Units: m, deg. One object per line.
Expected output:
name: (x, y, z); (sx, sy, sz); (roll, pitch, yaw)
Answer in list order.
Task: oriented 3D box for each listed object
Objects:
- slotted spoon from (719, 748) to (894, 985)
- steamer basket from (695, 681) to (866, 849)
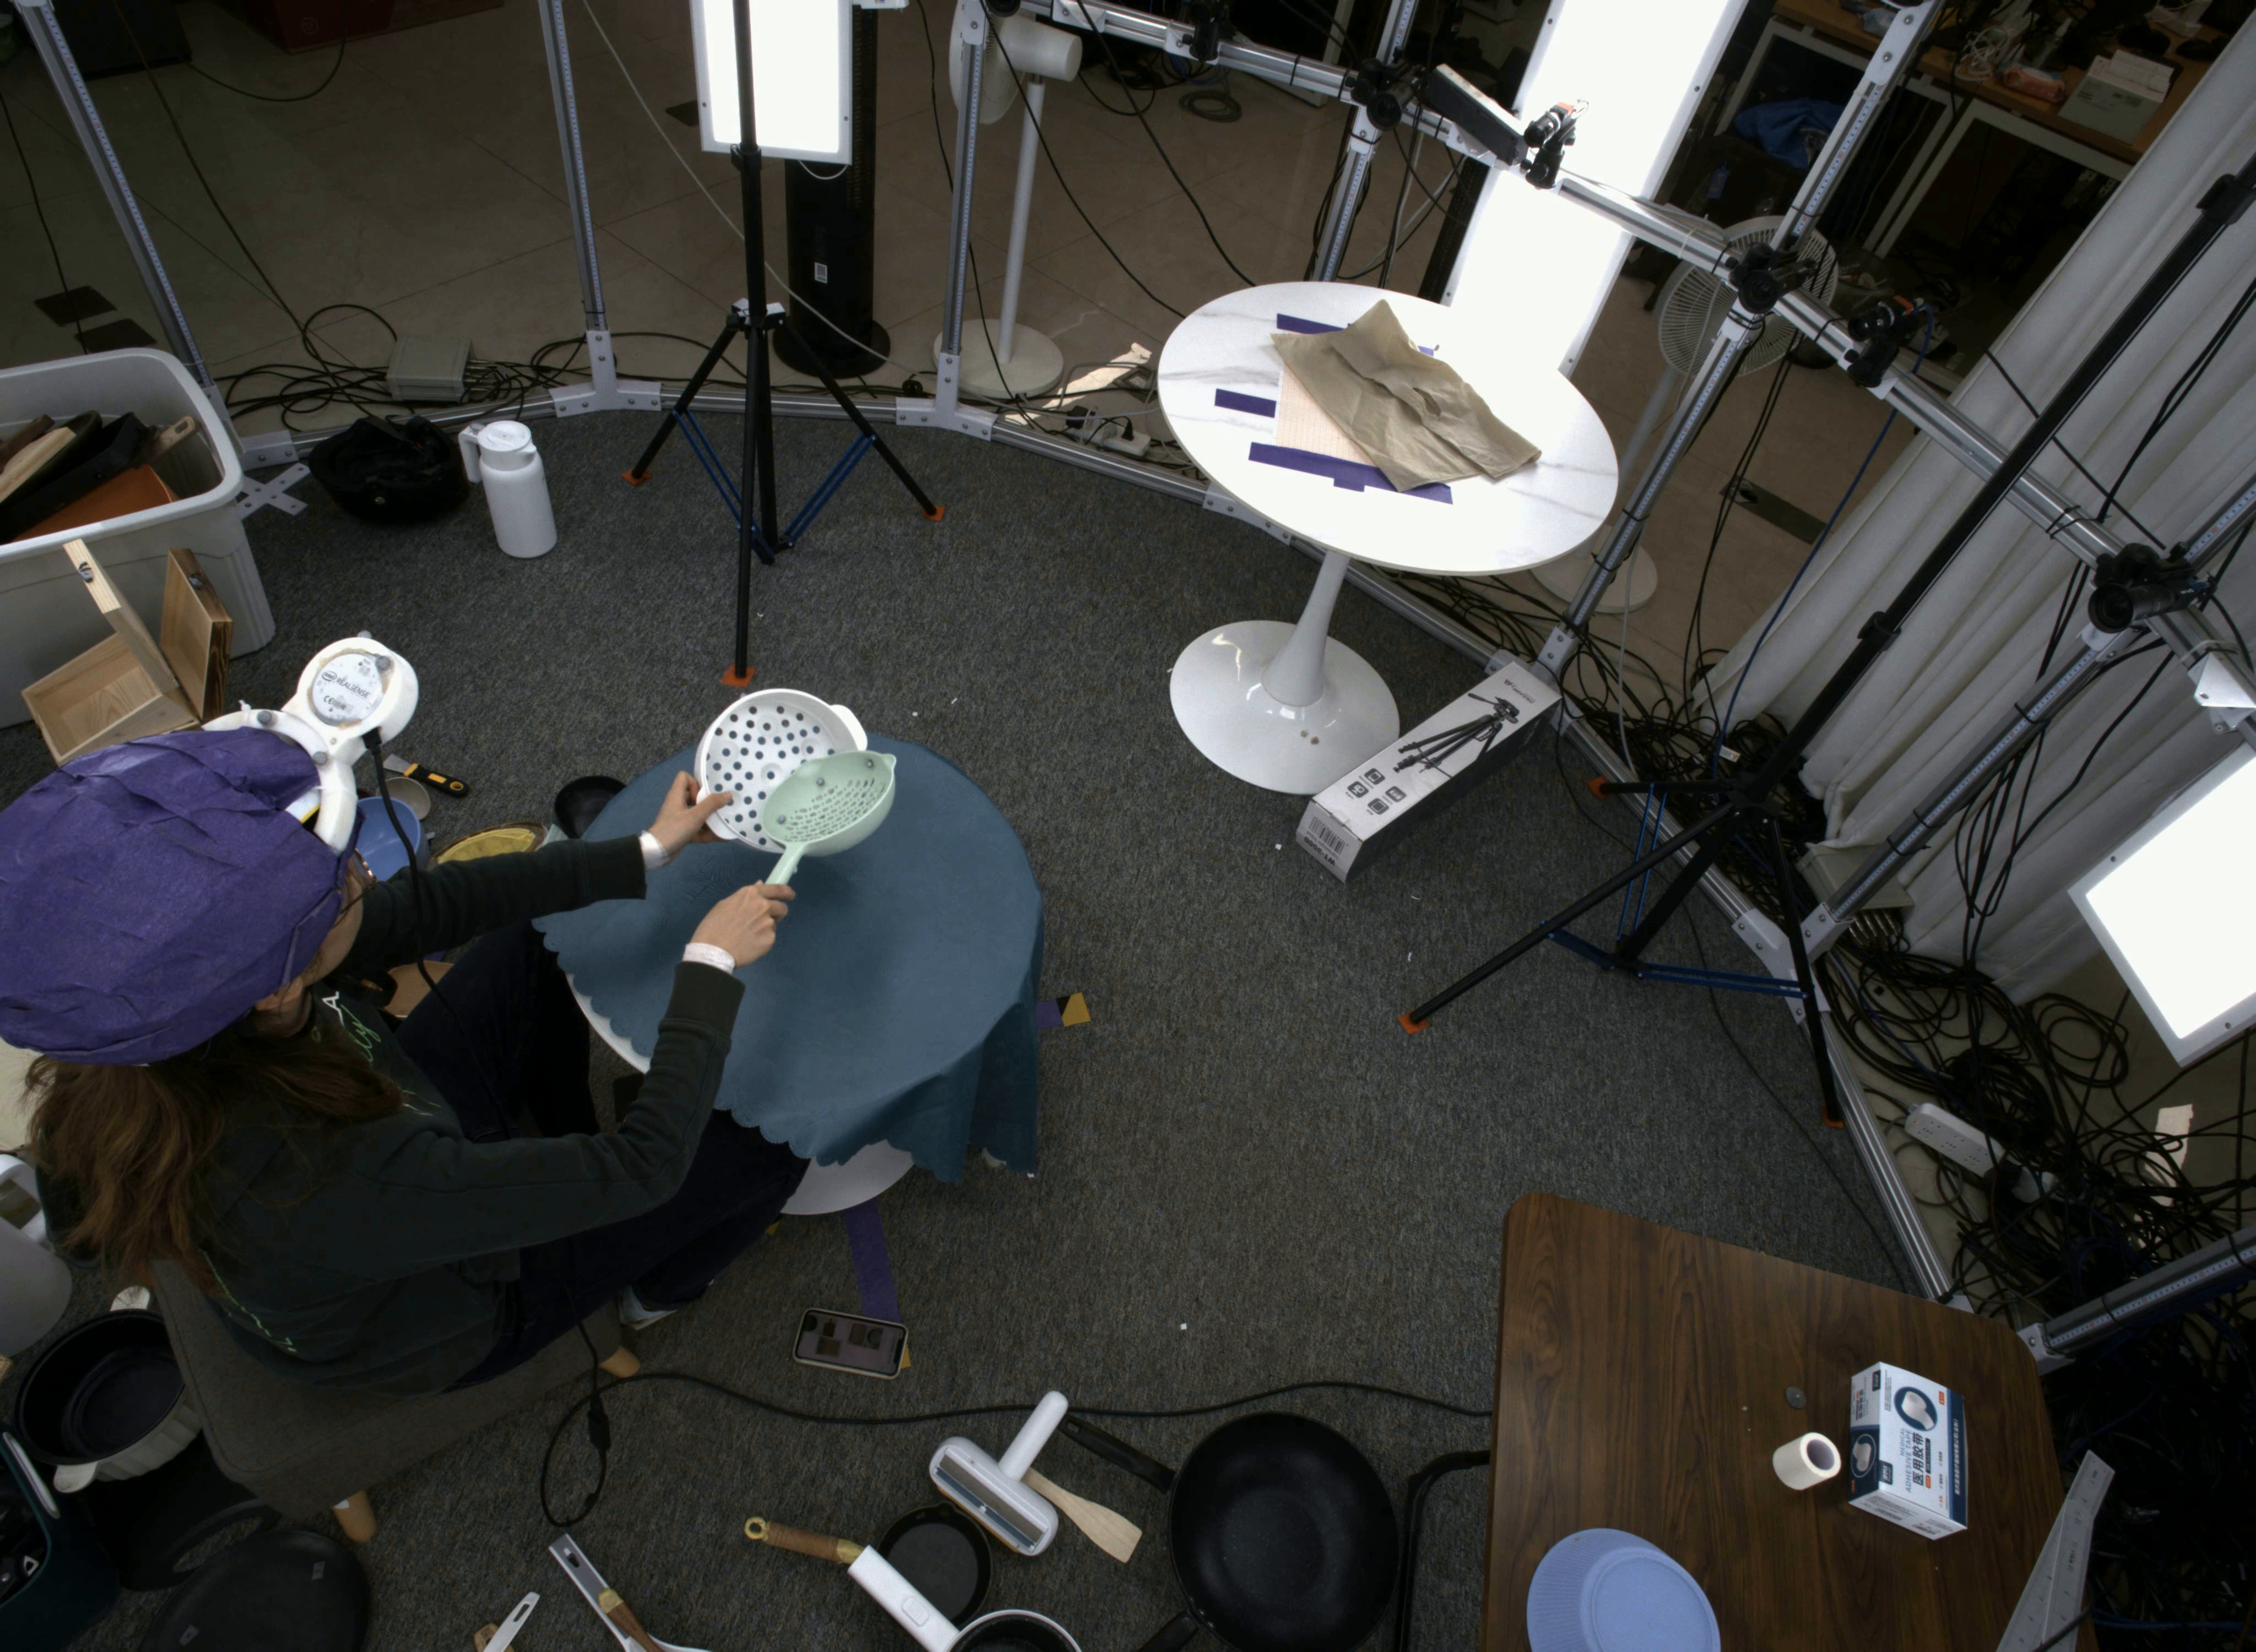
slotted spoon: (-0.381, 0.035, 1.476); (0.165, 0.078, 0.355); (-2, 33, 22)
steamer basket: (-0.431, -0.073, 1.595); (0.231, 0.067, 0.207); (-41, 108, -28)
